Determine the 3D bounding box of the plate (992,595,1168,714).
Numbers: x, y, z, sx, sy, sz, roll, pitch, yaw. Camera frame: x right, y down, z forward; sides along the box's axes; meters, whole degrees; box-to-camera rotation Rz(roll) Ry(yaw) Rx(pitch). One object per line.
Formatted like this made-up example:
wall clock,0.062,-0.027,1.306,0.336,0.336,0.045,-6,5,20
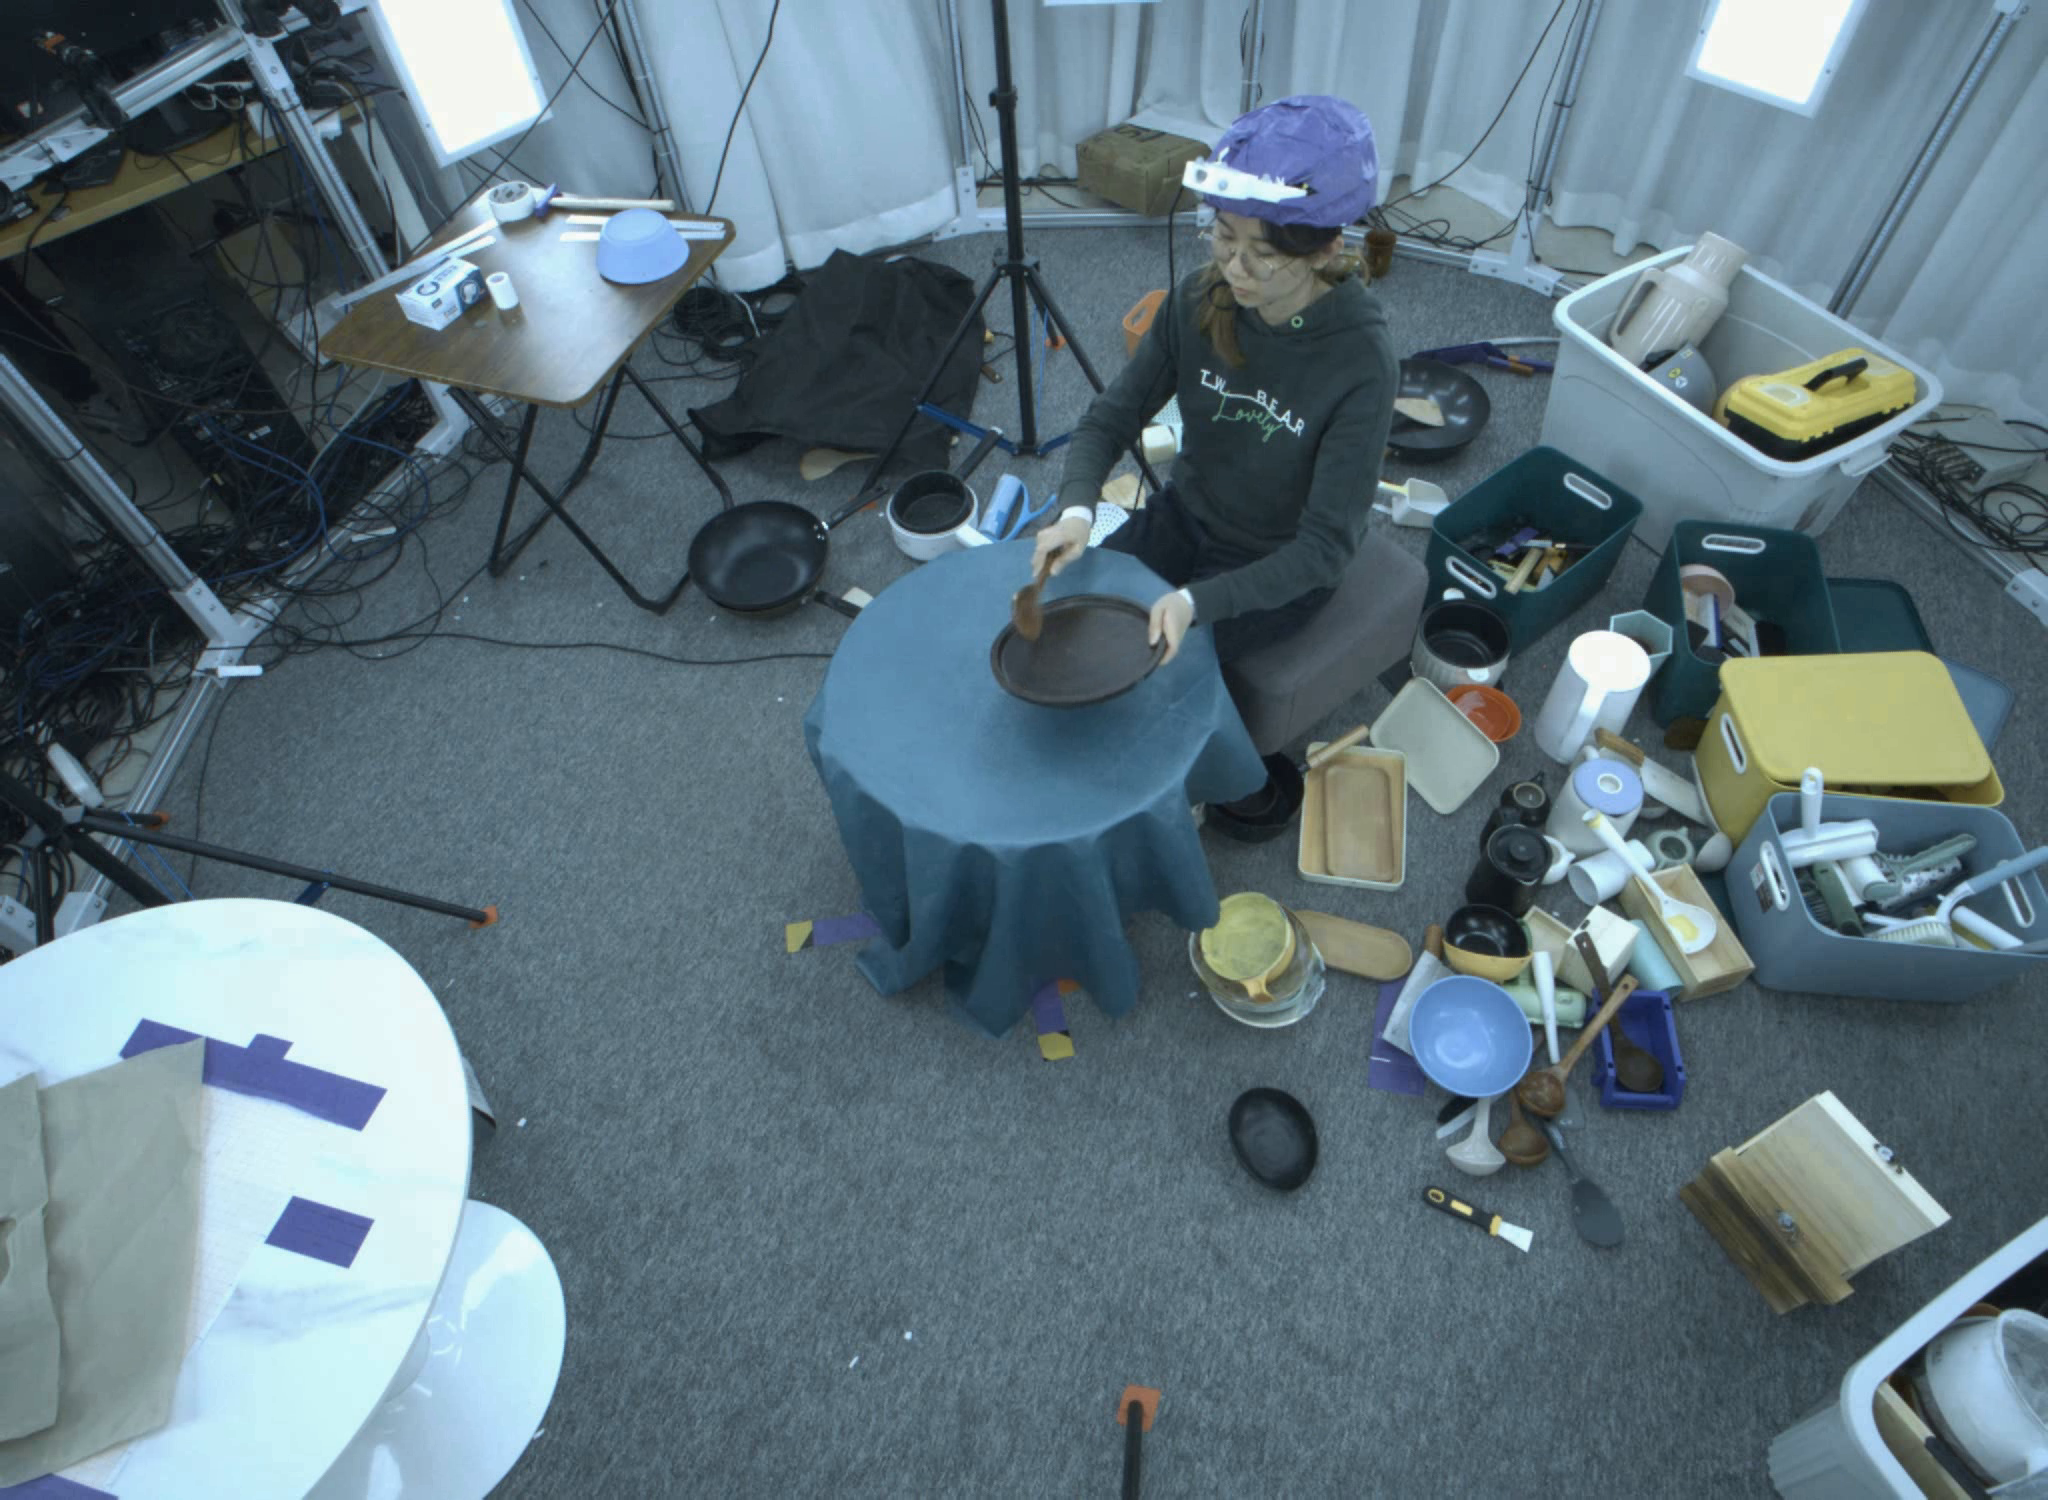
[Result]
plate,0.079,-0.137,1.753,0.254,0.029,0.252,-5,43,6

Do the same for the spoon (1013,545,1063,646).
spoon,0.023,-0.231,1.788,0.017,0.077,0.215,-9,40,29
